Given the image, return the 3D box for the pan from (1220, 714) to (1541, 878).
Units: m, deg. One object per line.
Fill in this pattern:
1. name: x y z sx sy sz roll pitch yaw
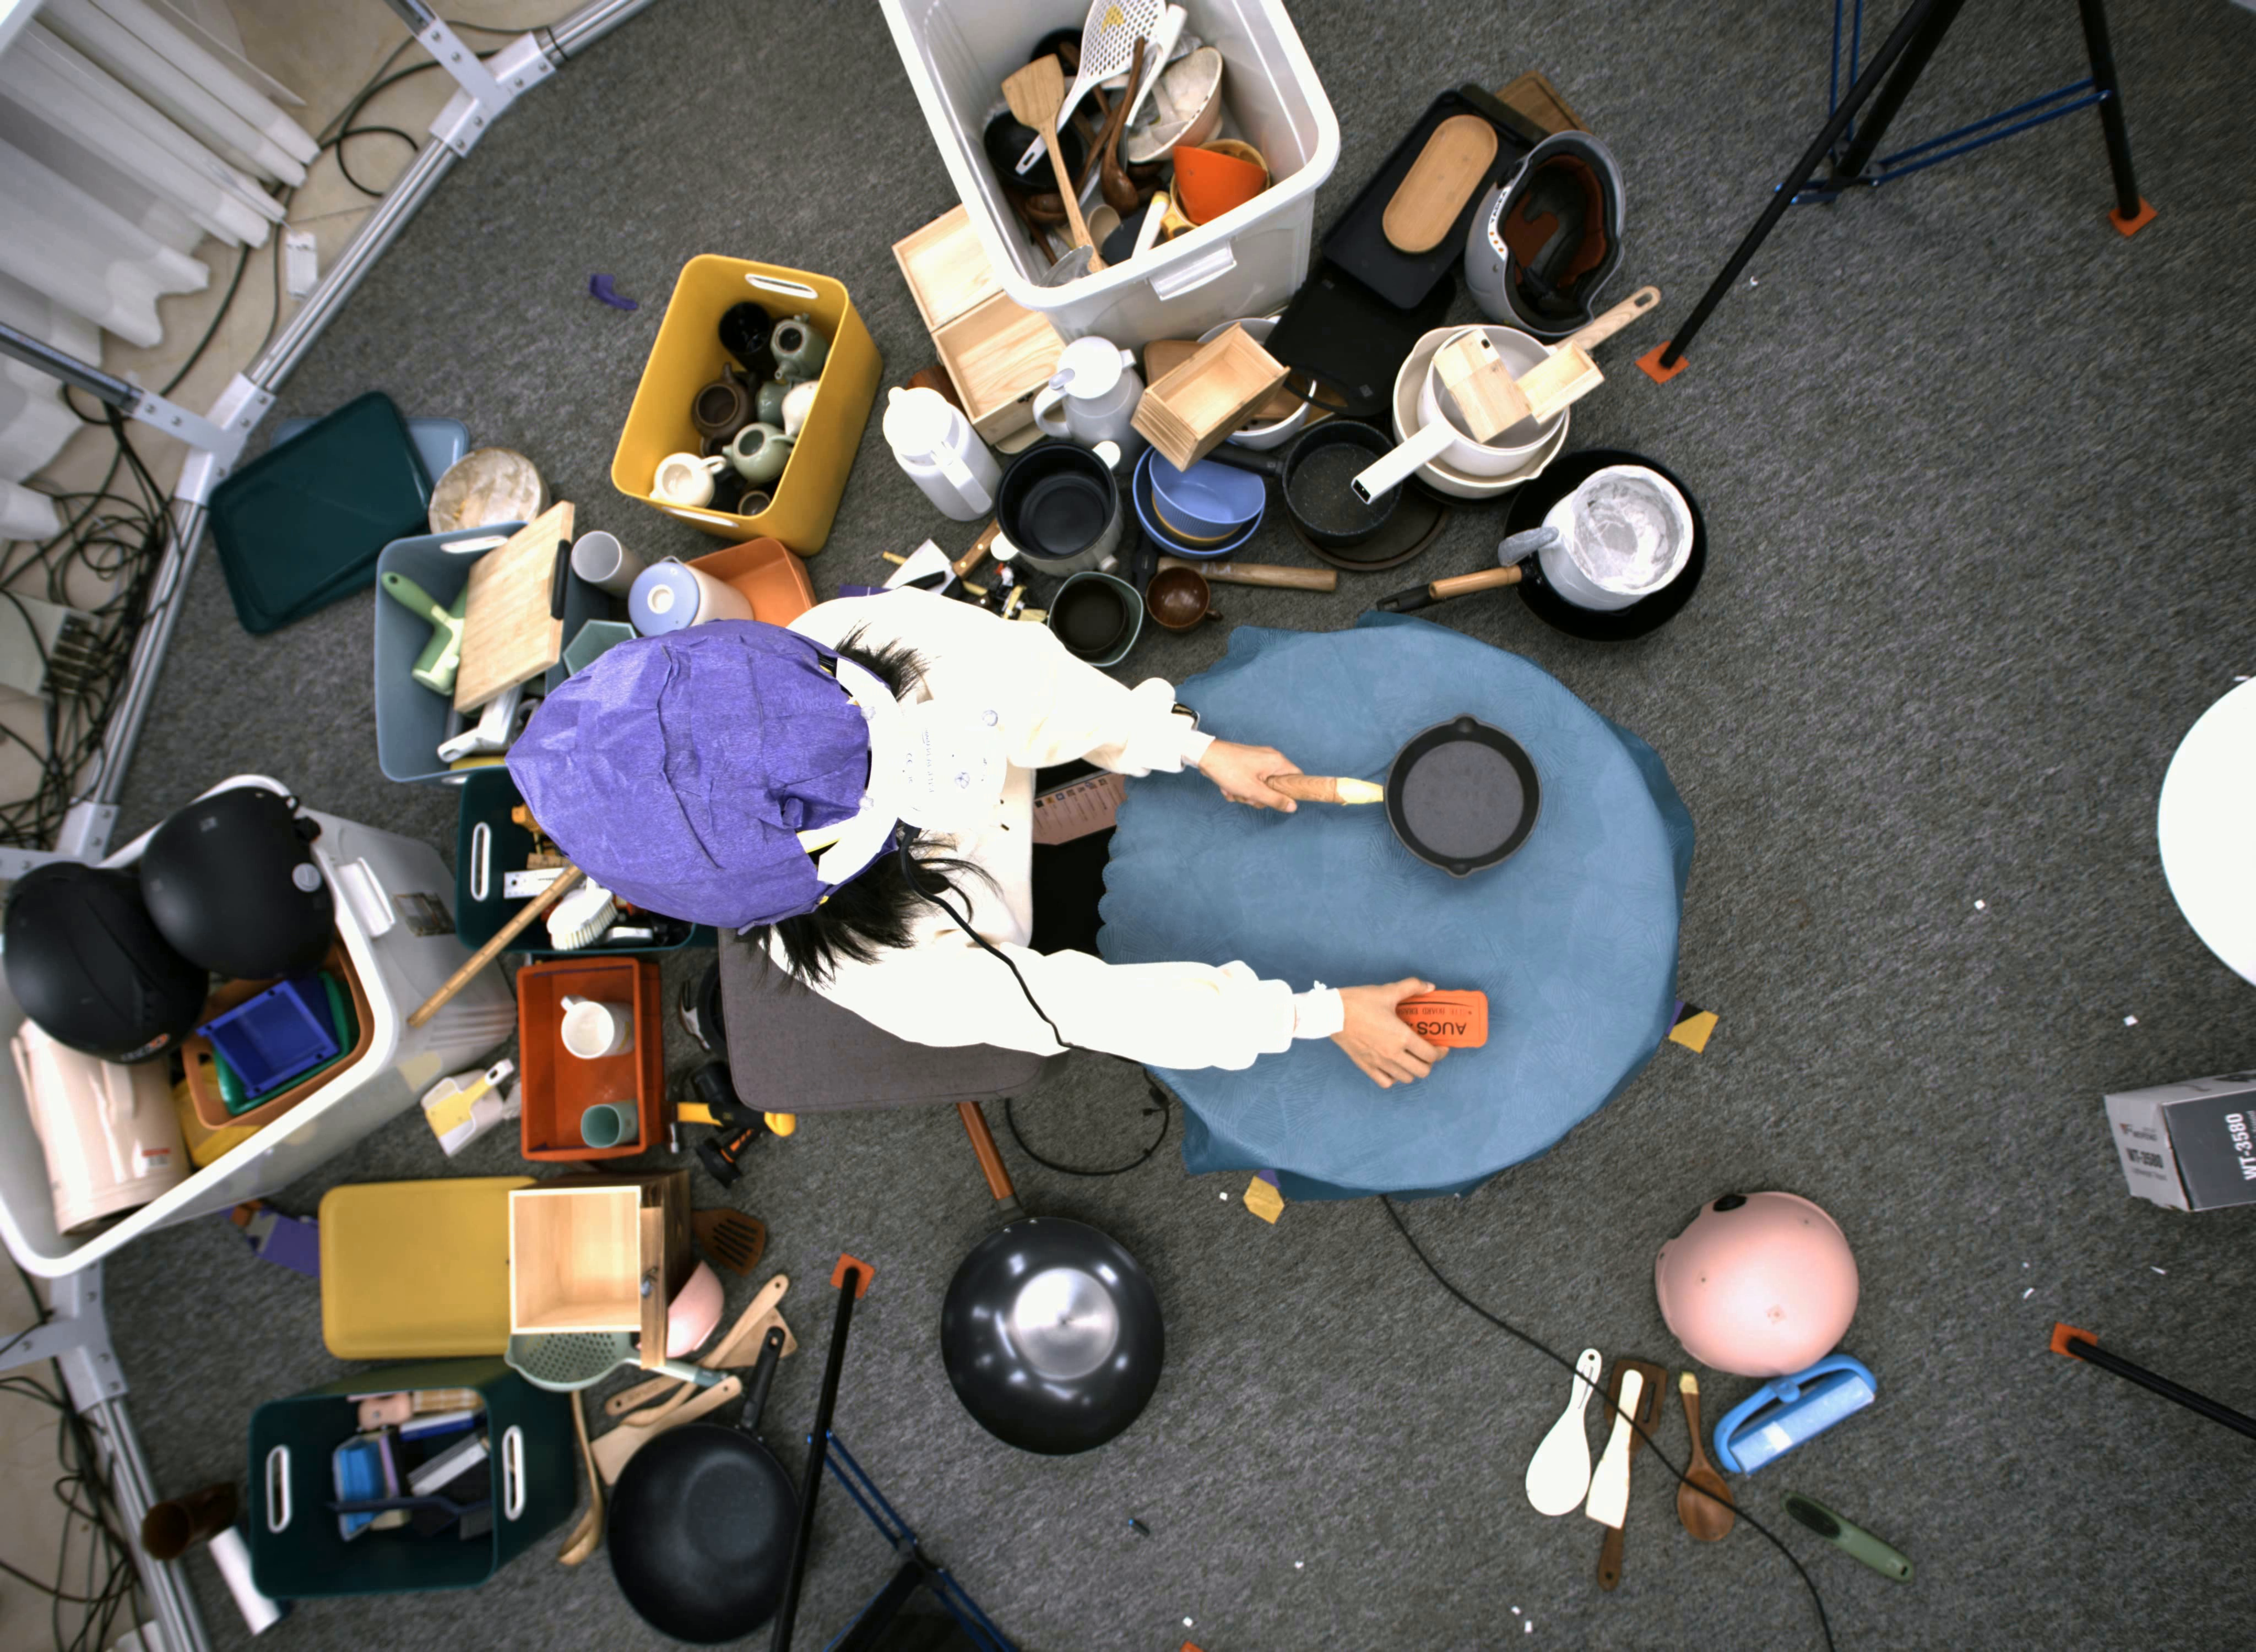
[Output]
1. pan: 0.257 -0.038 1.417 0.325 0.049 0.168 4 86 13

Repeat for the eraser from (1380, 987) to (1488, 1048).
1. eraser: 0.314 0.195 1.421 0.108 0.023 0.059 0 91 21
